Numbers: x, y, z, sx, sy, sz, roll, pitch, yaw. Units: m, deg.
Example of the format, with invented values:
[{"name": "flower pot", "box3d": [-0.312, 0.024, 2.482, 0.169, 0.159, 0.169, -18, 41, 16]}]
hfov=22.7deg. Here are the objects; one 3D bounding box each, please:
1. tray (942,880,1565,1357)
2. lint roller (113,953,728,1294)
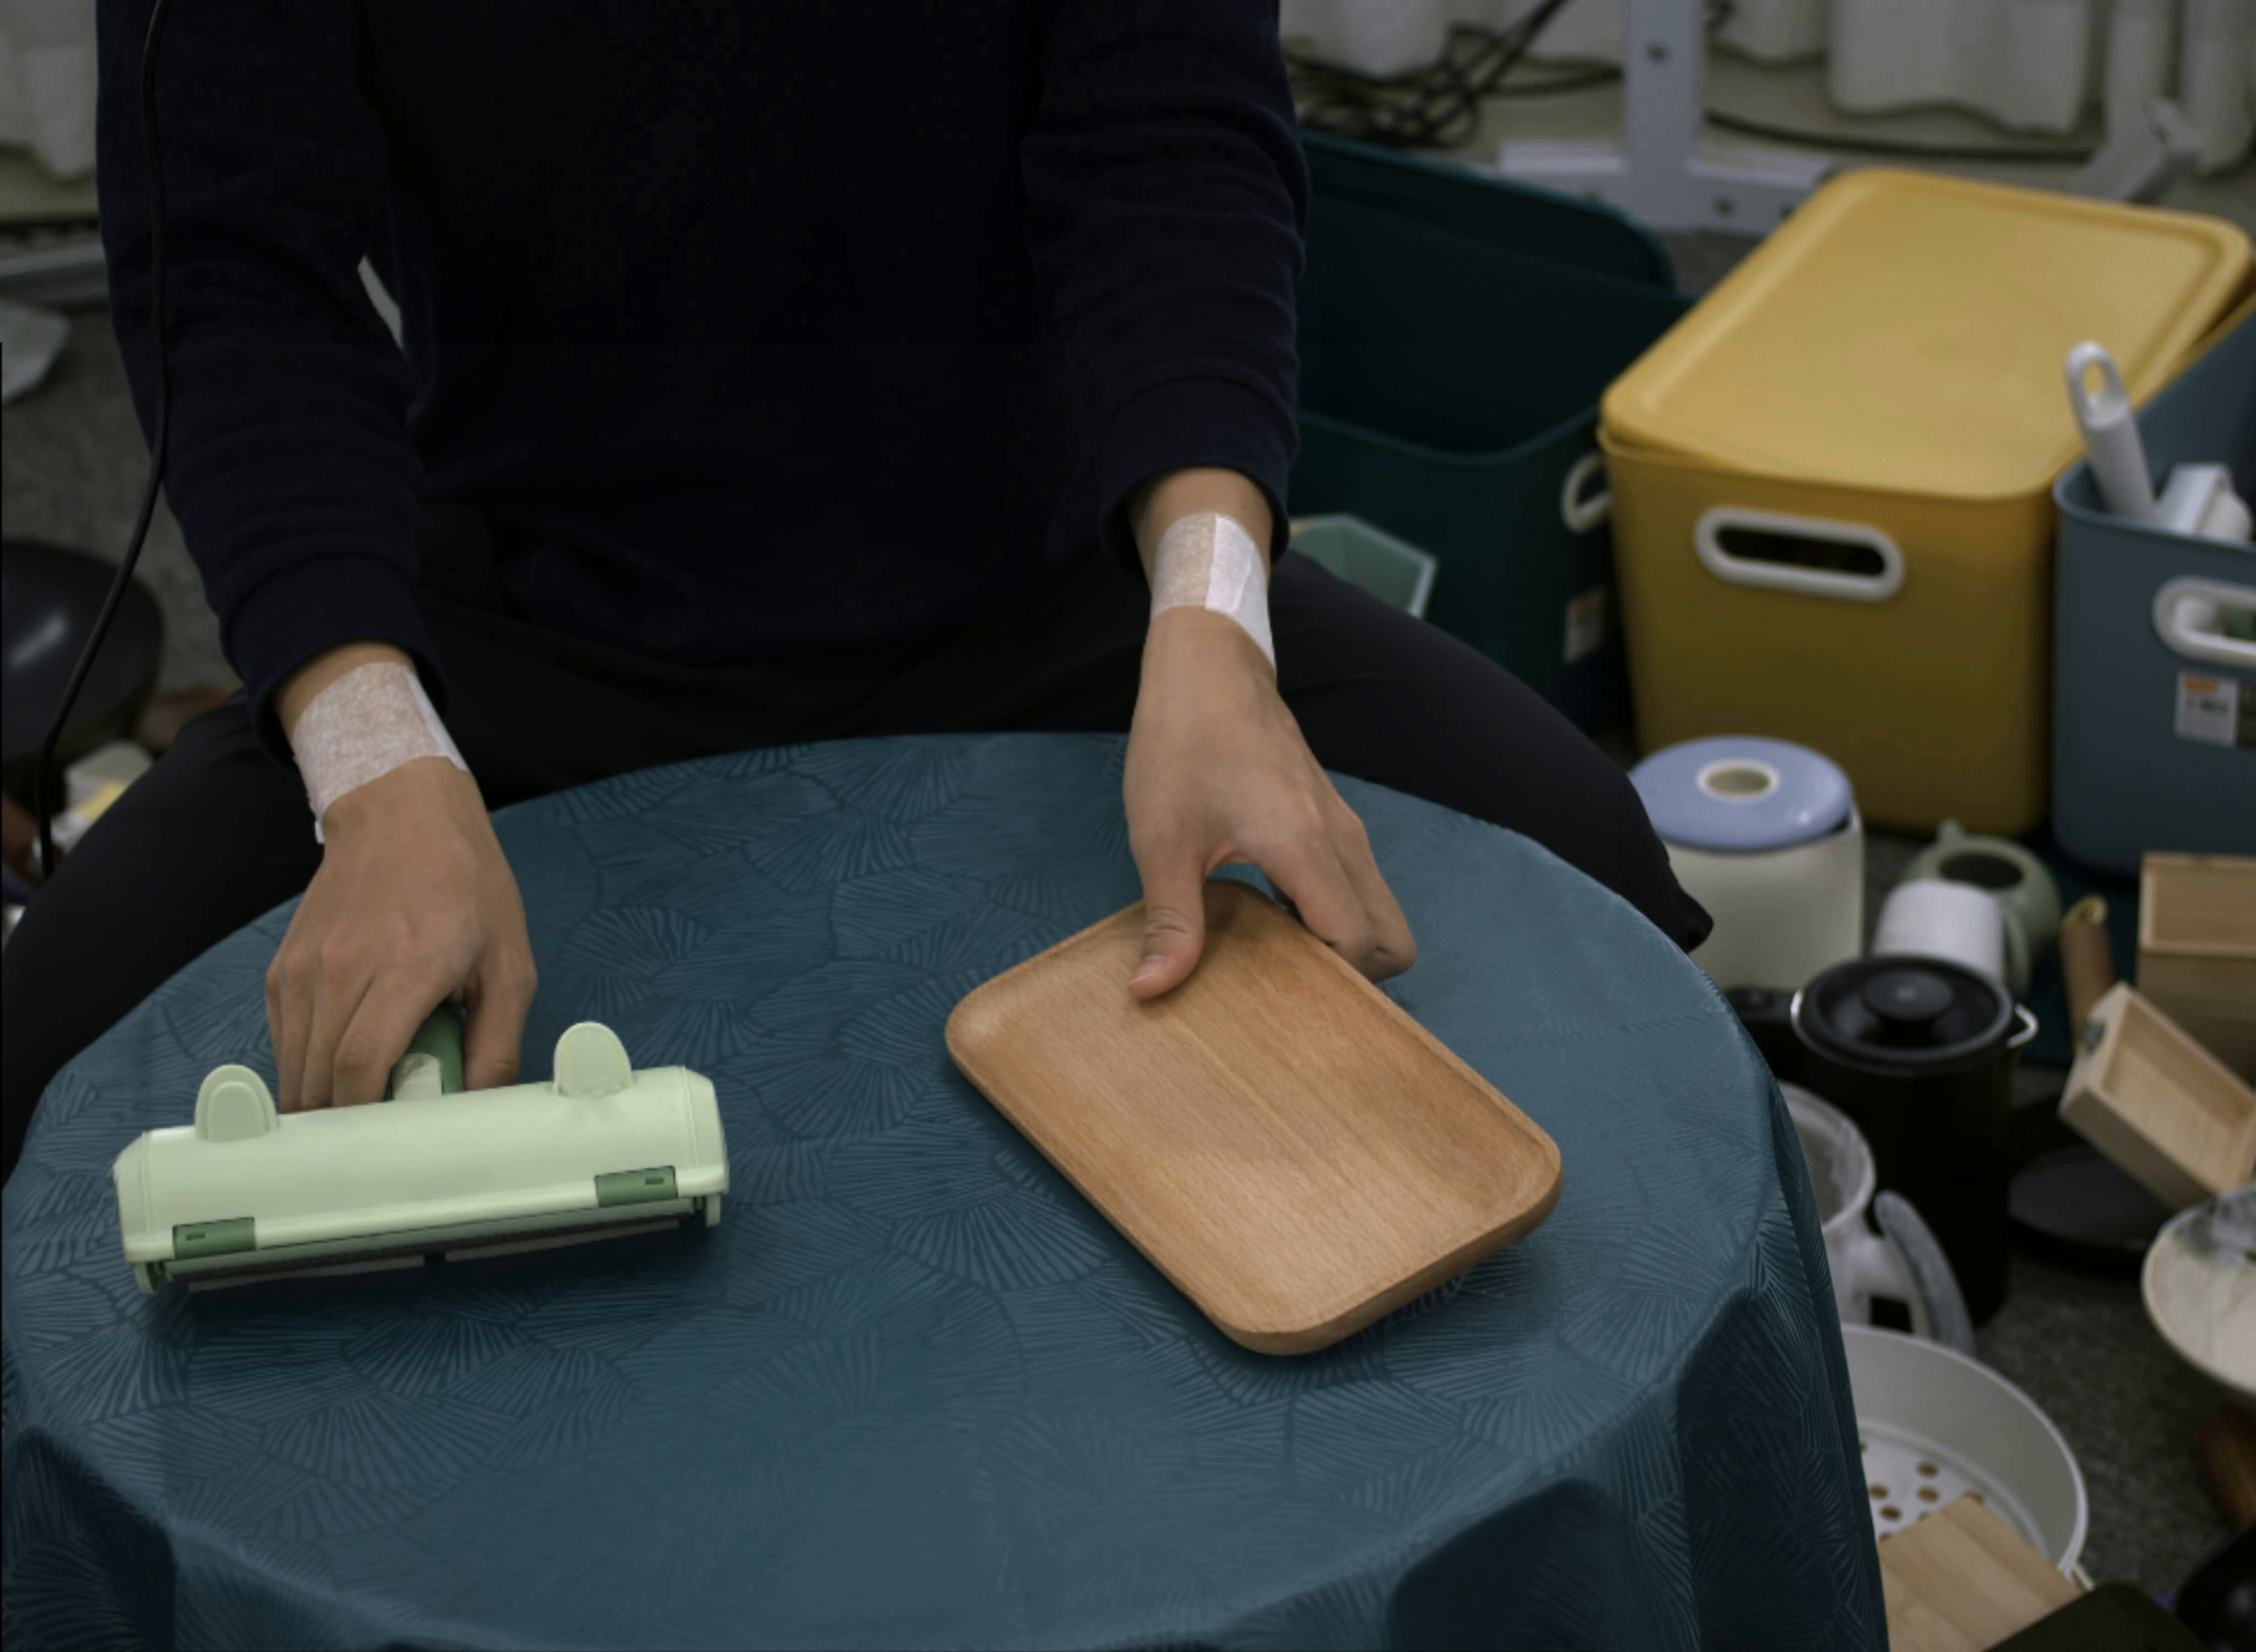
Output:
[{"name": "tray", "box3d": [0.038, 0.094, 1.869, 0.131, 0.022, 0.252, -24, 32, -17]}, {"name": "lint roller", "box3d": [-0.239, 0.077, 1.872, 0.198, 0.081, 0.186, -6, 36, -7]}]
